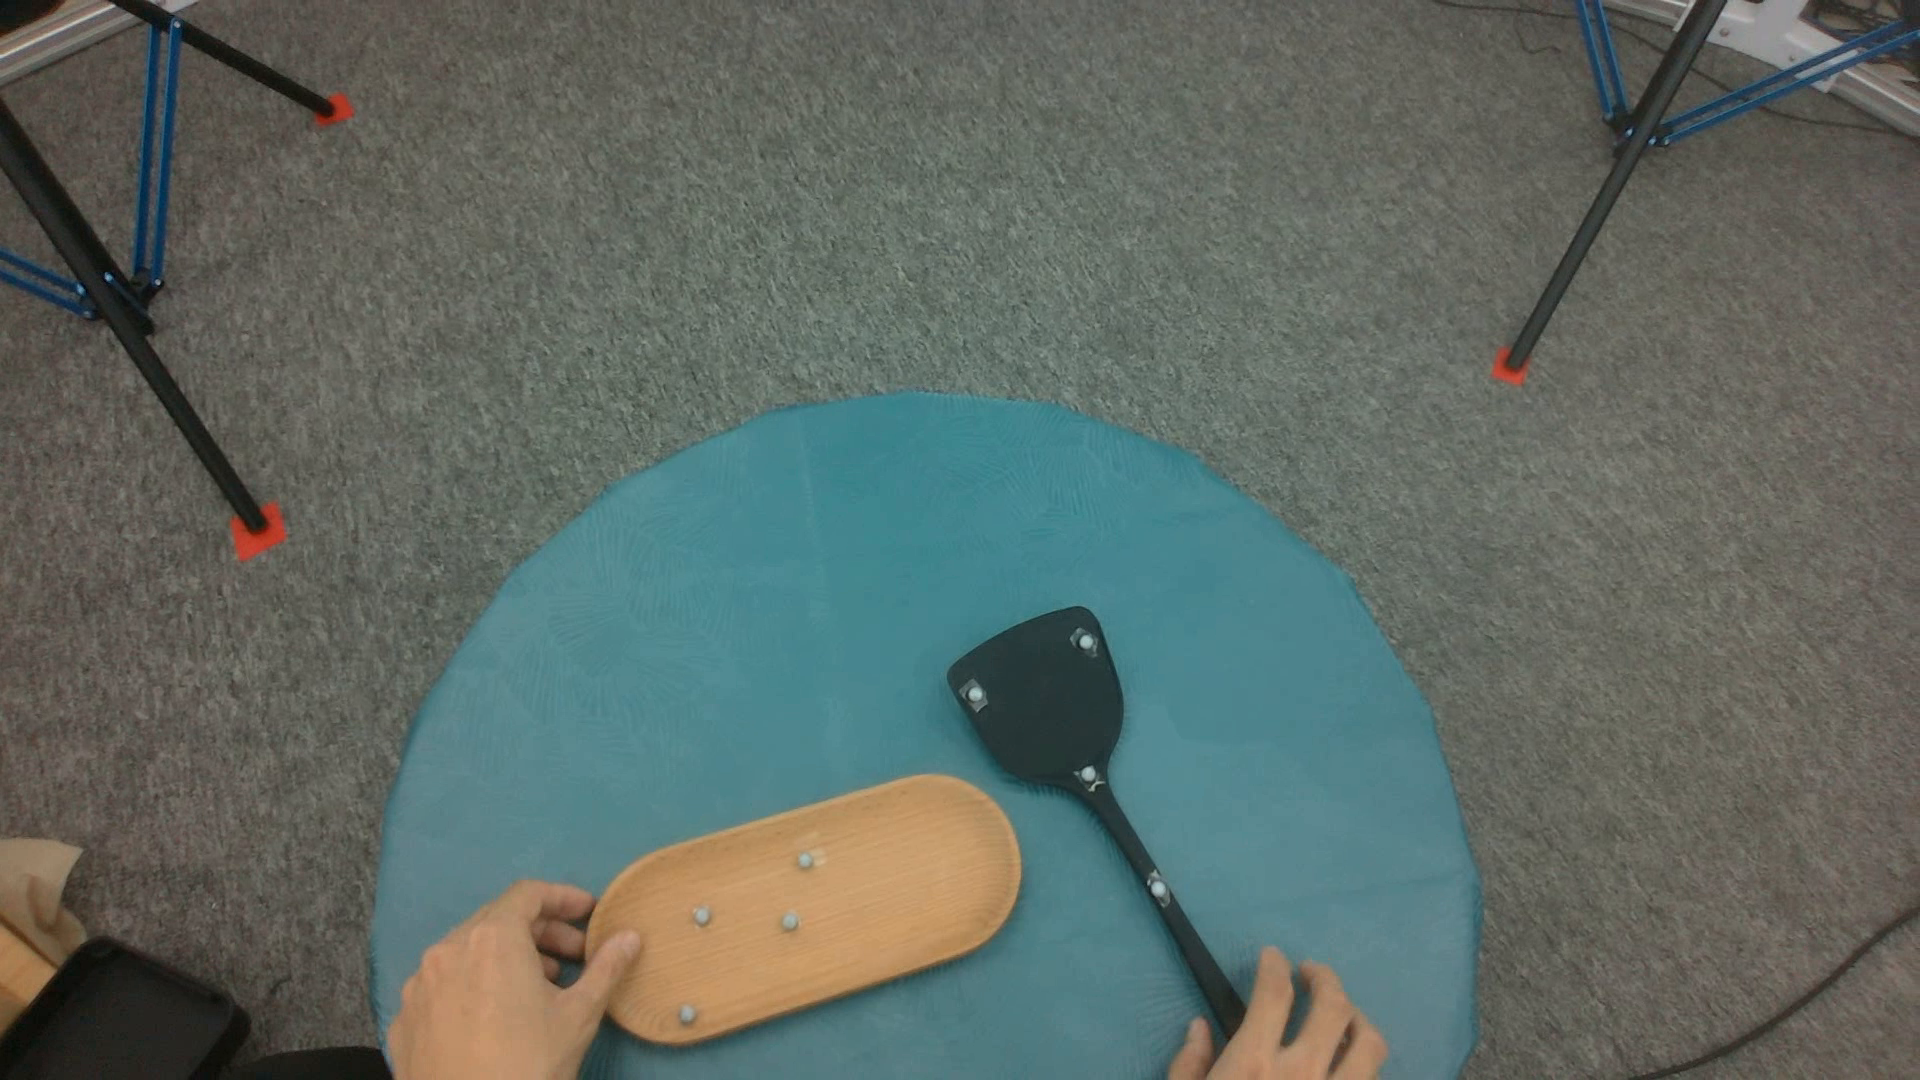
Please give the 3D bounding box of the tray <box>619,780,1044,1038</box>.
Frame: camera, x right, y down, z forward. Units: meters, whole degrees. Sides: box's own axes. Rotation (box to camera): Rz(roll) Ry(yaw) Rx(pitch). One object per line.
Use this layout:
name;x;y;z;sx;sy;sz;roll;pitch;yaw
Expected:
tray;-0.067;0.197;0.743;0.231;0.020;0.102;-13;59;-12

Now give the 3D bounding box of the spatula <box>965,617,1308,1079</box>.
spatula;0.117;0.190;0.744;0.100;0.040;0.327;-24;62;-15
